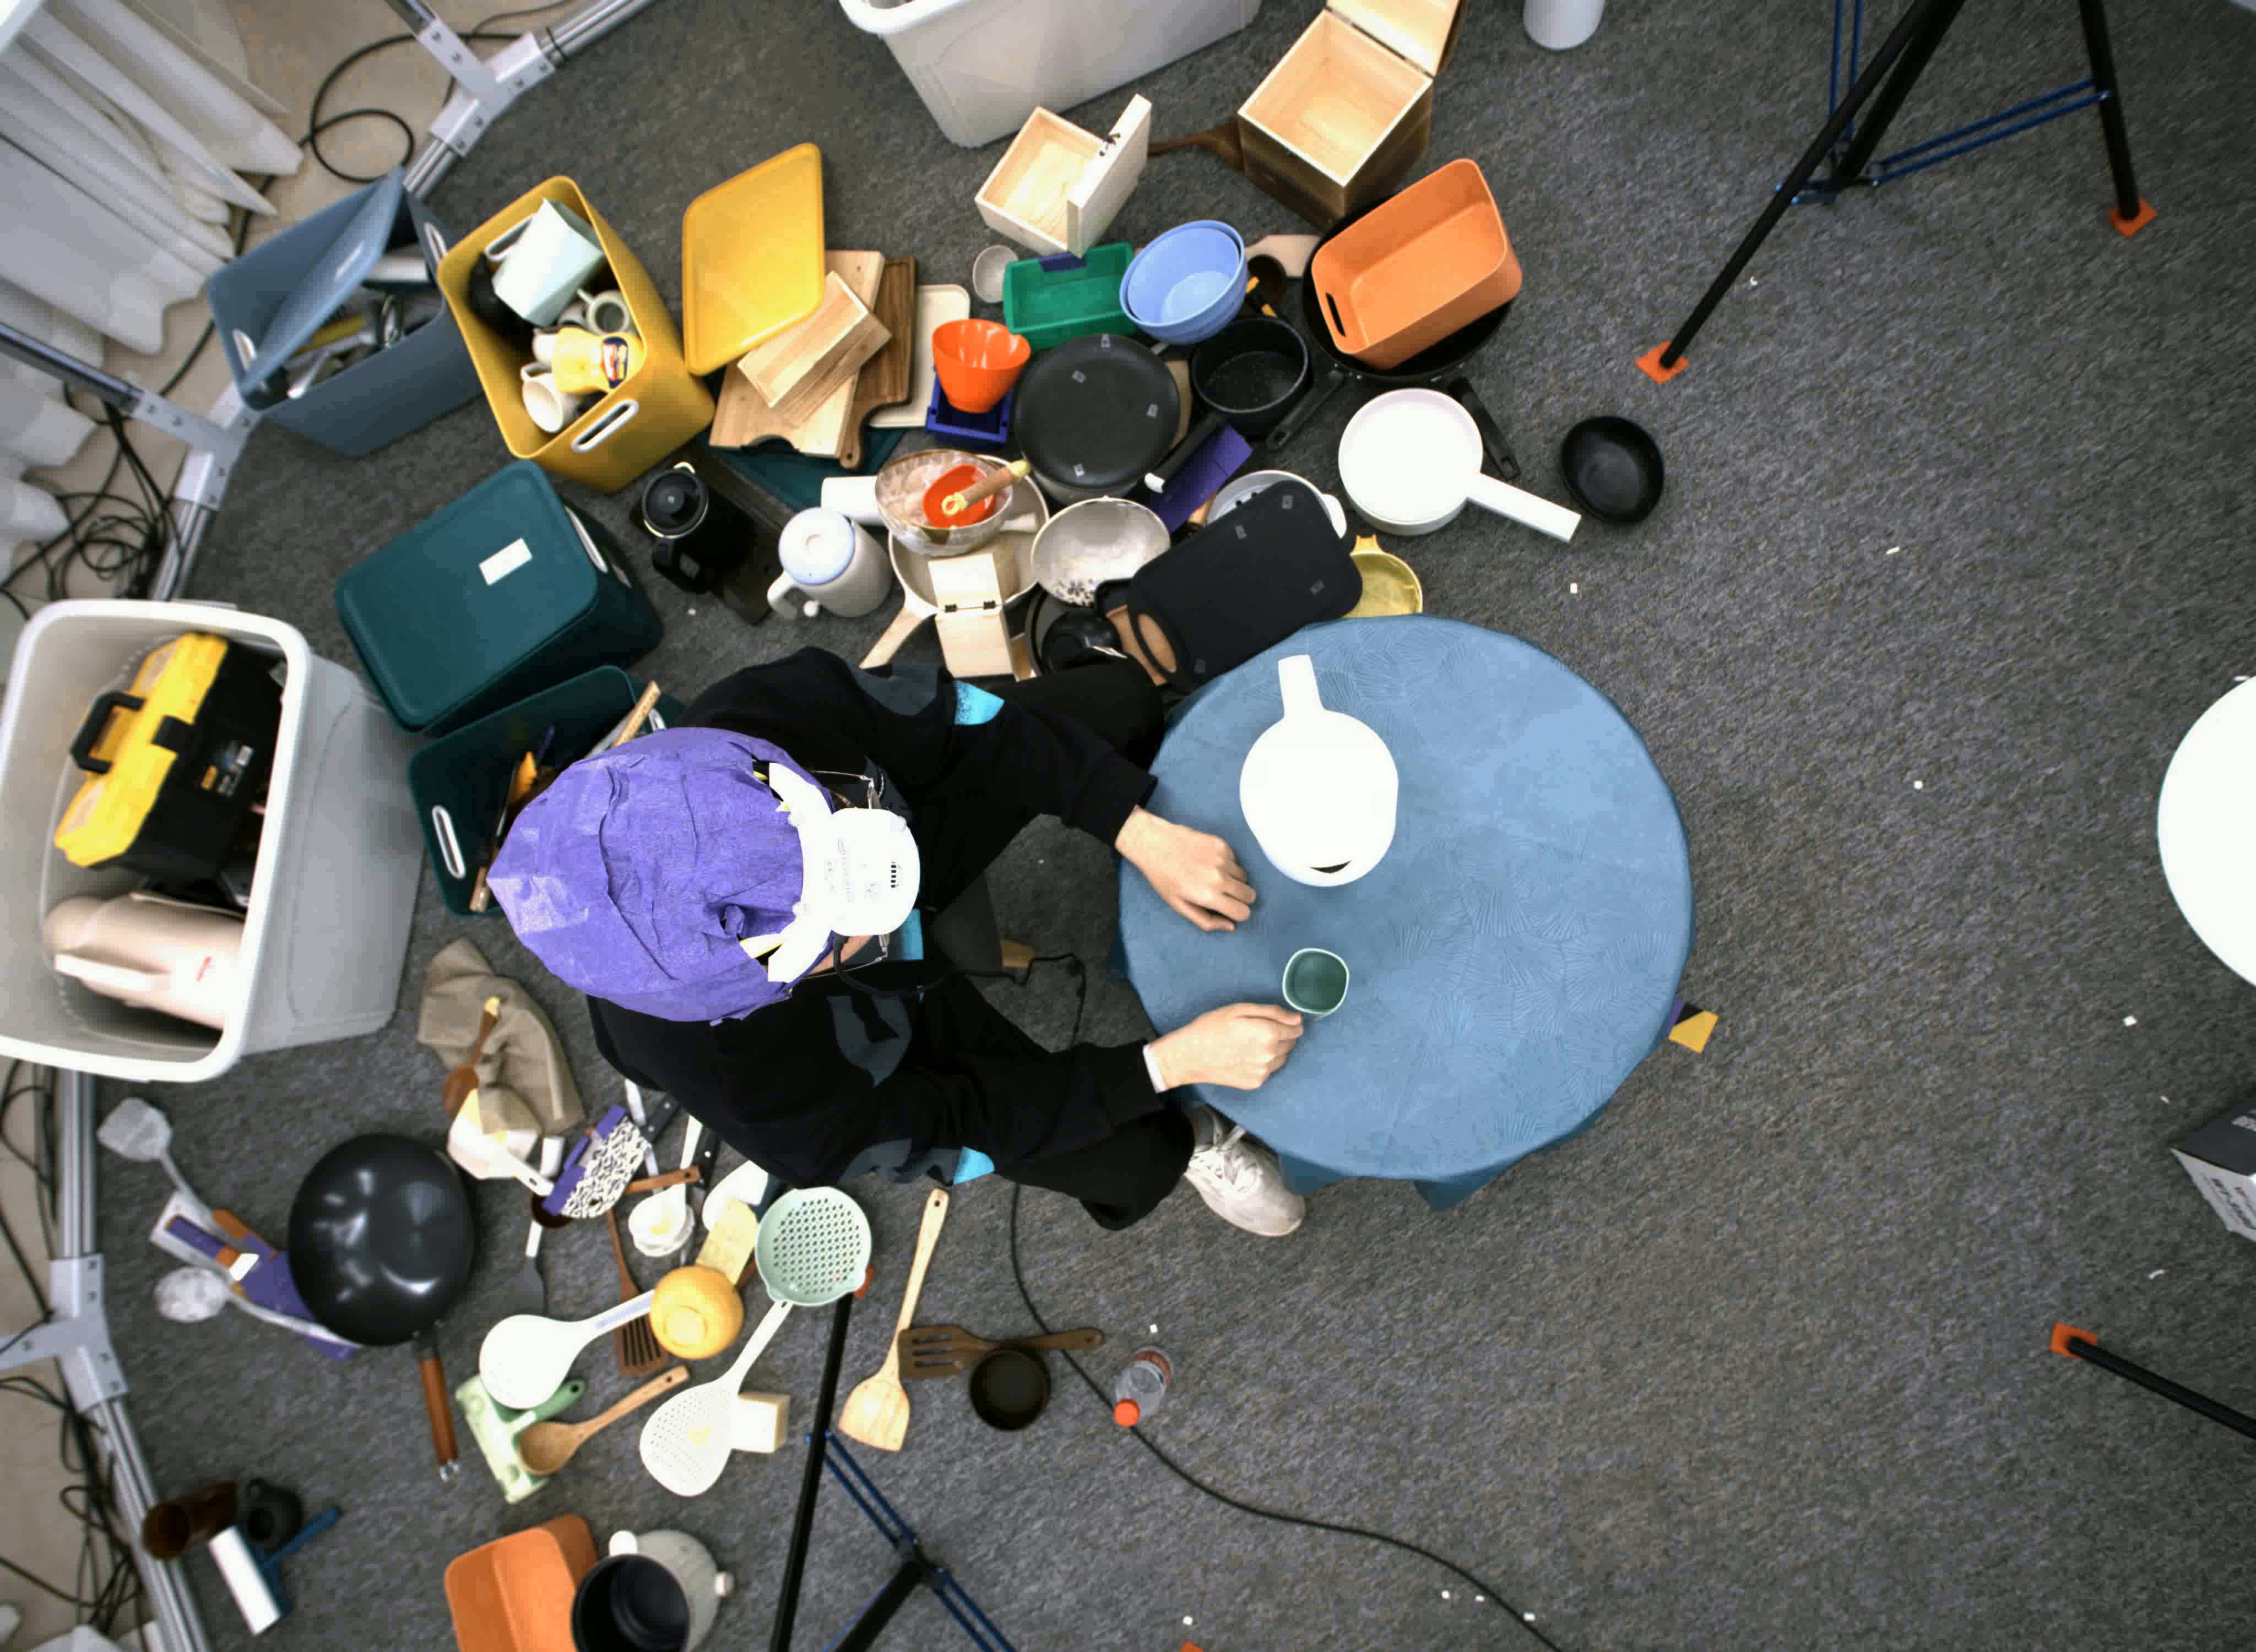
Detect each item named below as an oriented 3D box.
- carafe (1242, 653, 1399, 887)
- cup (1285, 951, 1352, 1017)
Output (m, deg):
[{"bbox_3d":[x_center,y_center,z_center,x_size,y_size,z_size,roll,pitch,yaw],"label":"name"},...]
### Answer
[{"bbox_3d":[0.188,-0.050,1.359,0.153,0.240,0.212,-9,85,8],"label":"carafe"},{"bbox_3d":[0.192,0.156,1.402,0.067,0.132,0.066,-1,86,9],"label":"cup"}]
